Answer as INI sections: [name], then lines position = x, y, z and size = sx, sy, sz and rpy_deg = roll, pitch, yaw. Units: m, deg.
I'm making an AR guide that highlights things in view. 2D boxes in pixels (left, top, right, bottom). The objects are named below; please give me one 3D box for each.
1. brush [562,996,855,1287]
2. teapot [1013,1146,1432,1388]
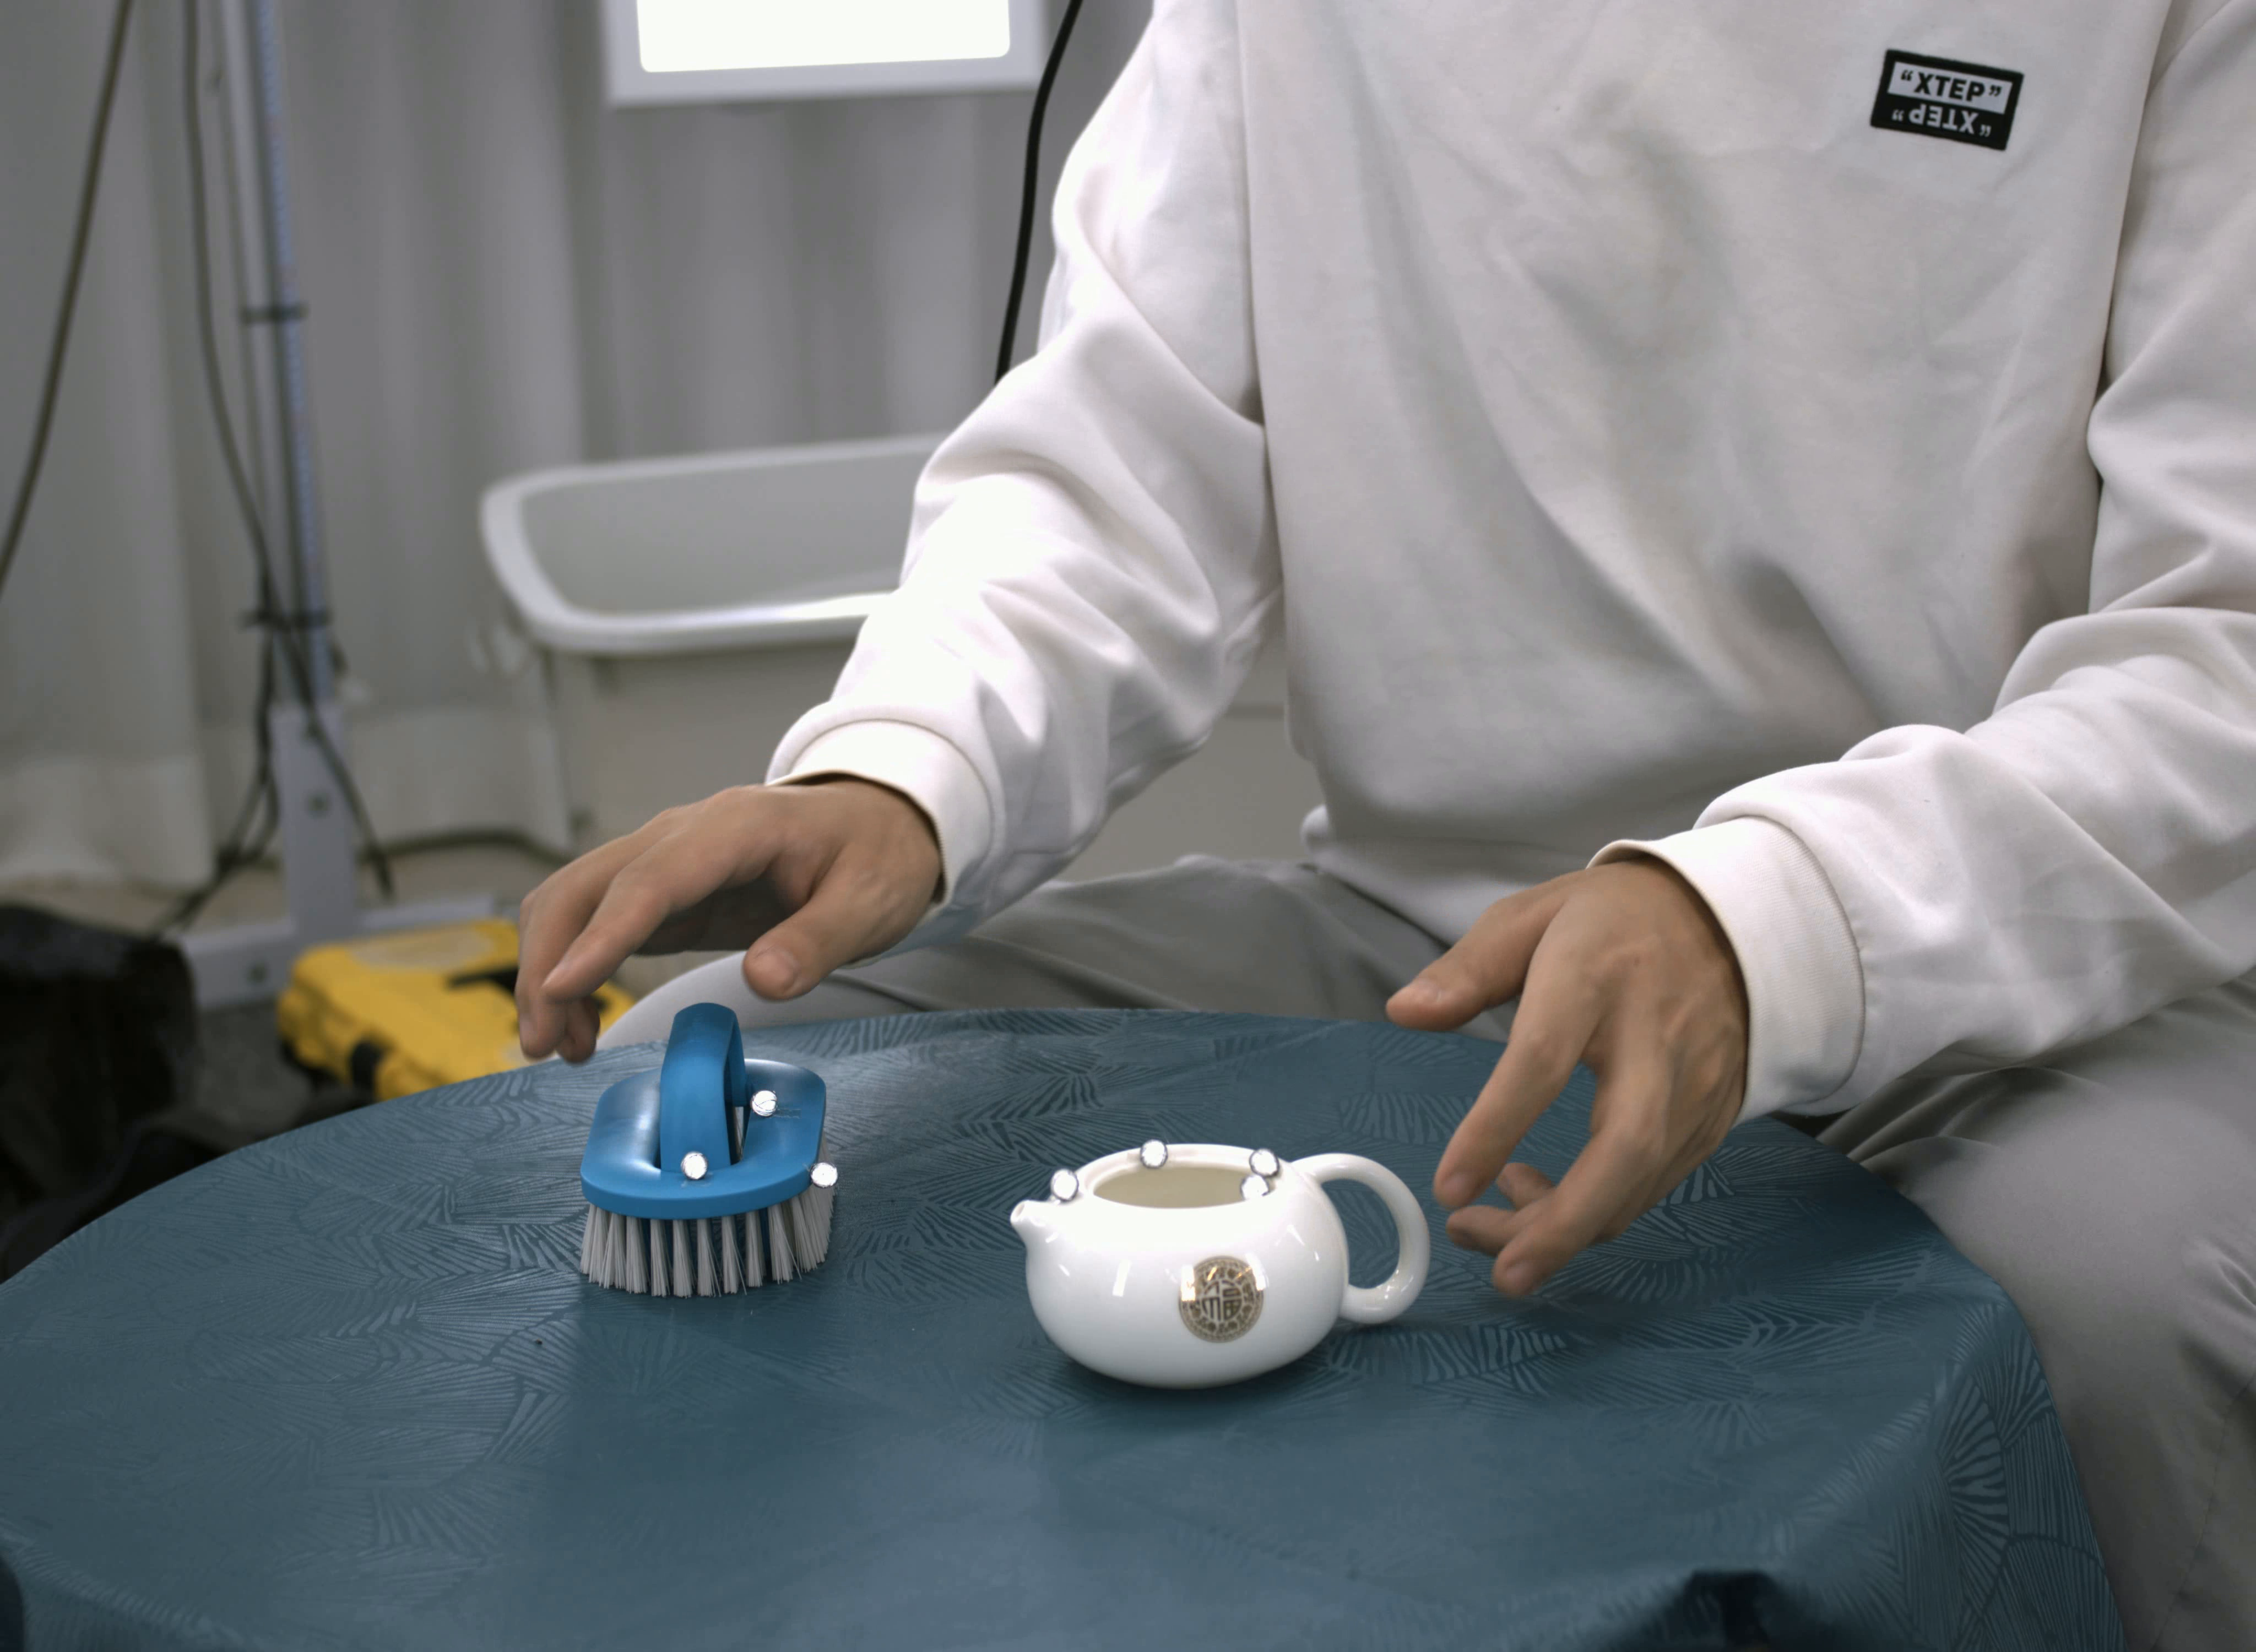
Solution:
[brush]
position = -0.131, 0.092, 1.700
size = 0.084, 0.063, 0.143
rpy_deg = -7, 14, 3
[teapot]
position = 0.028, 0.125, 1.568
size = 0.127, 0.056, 0.094
rpy_deg = -8, 11, -23
